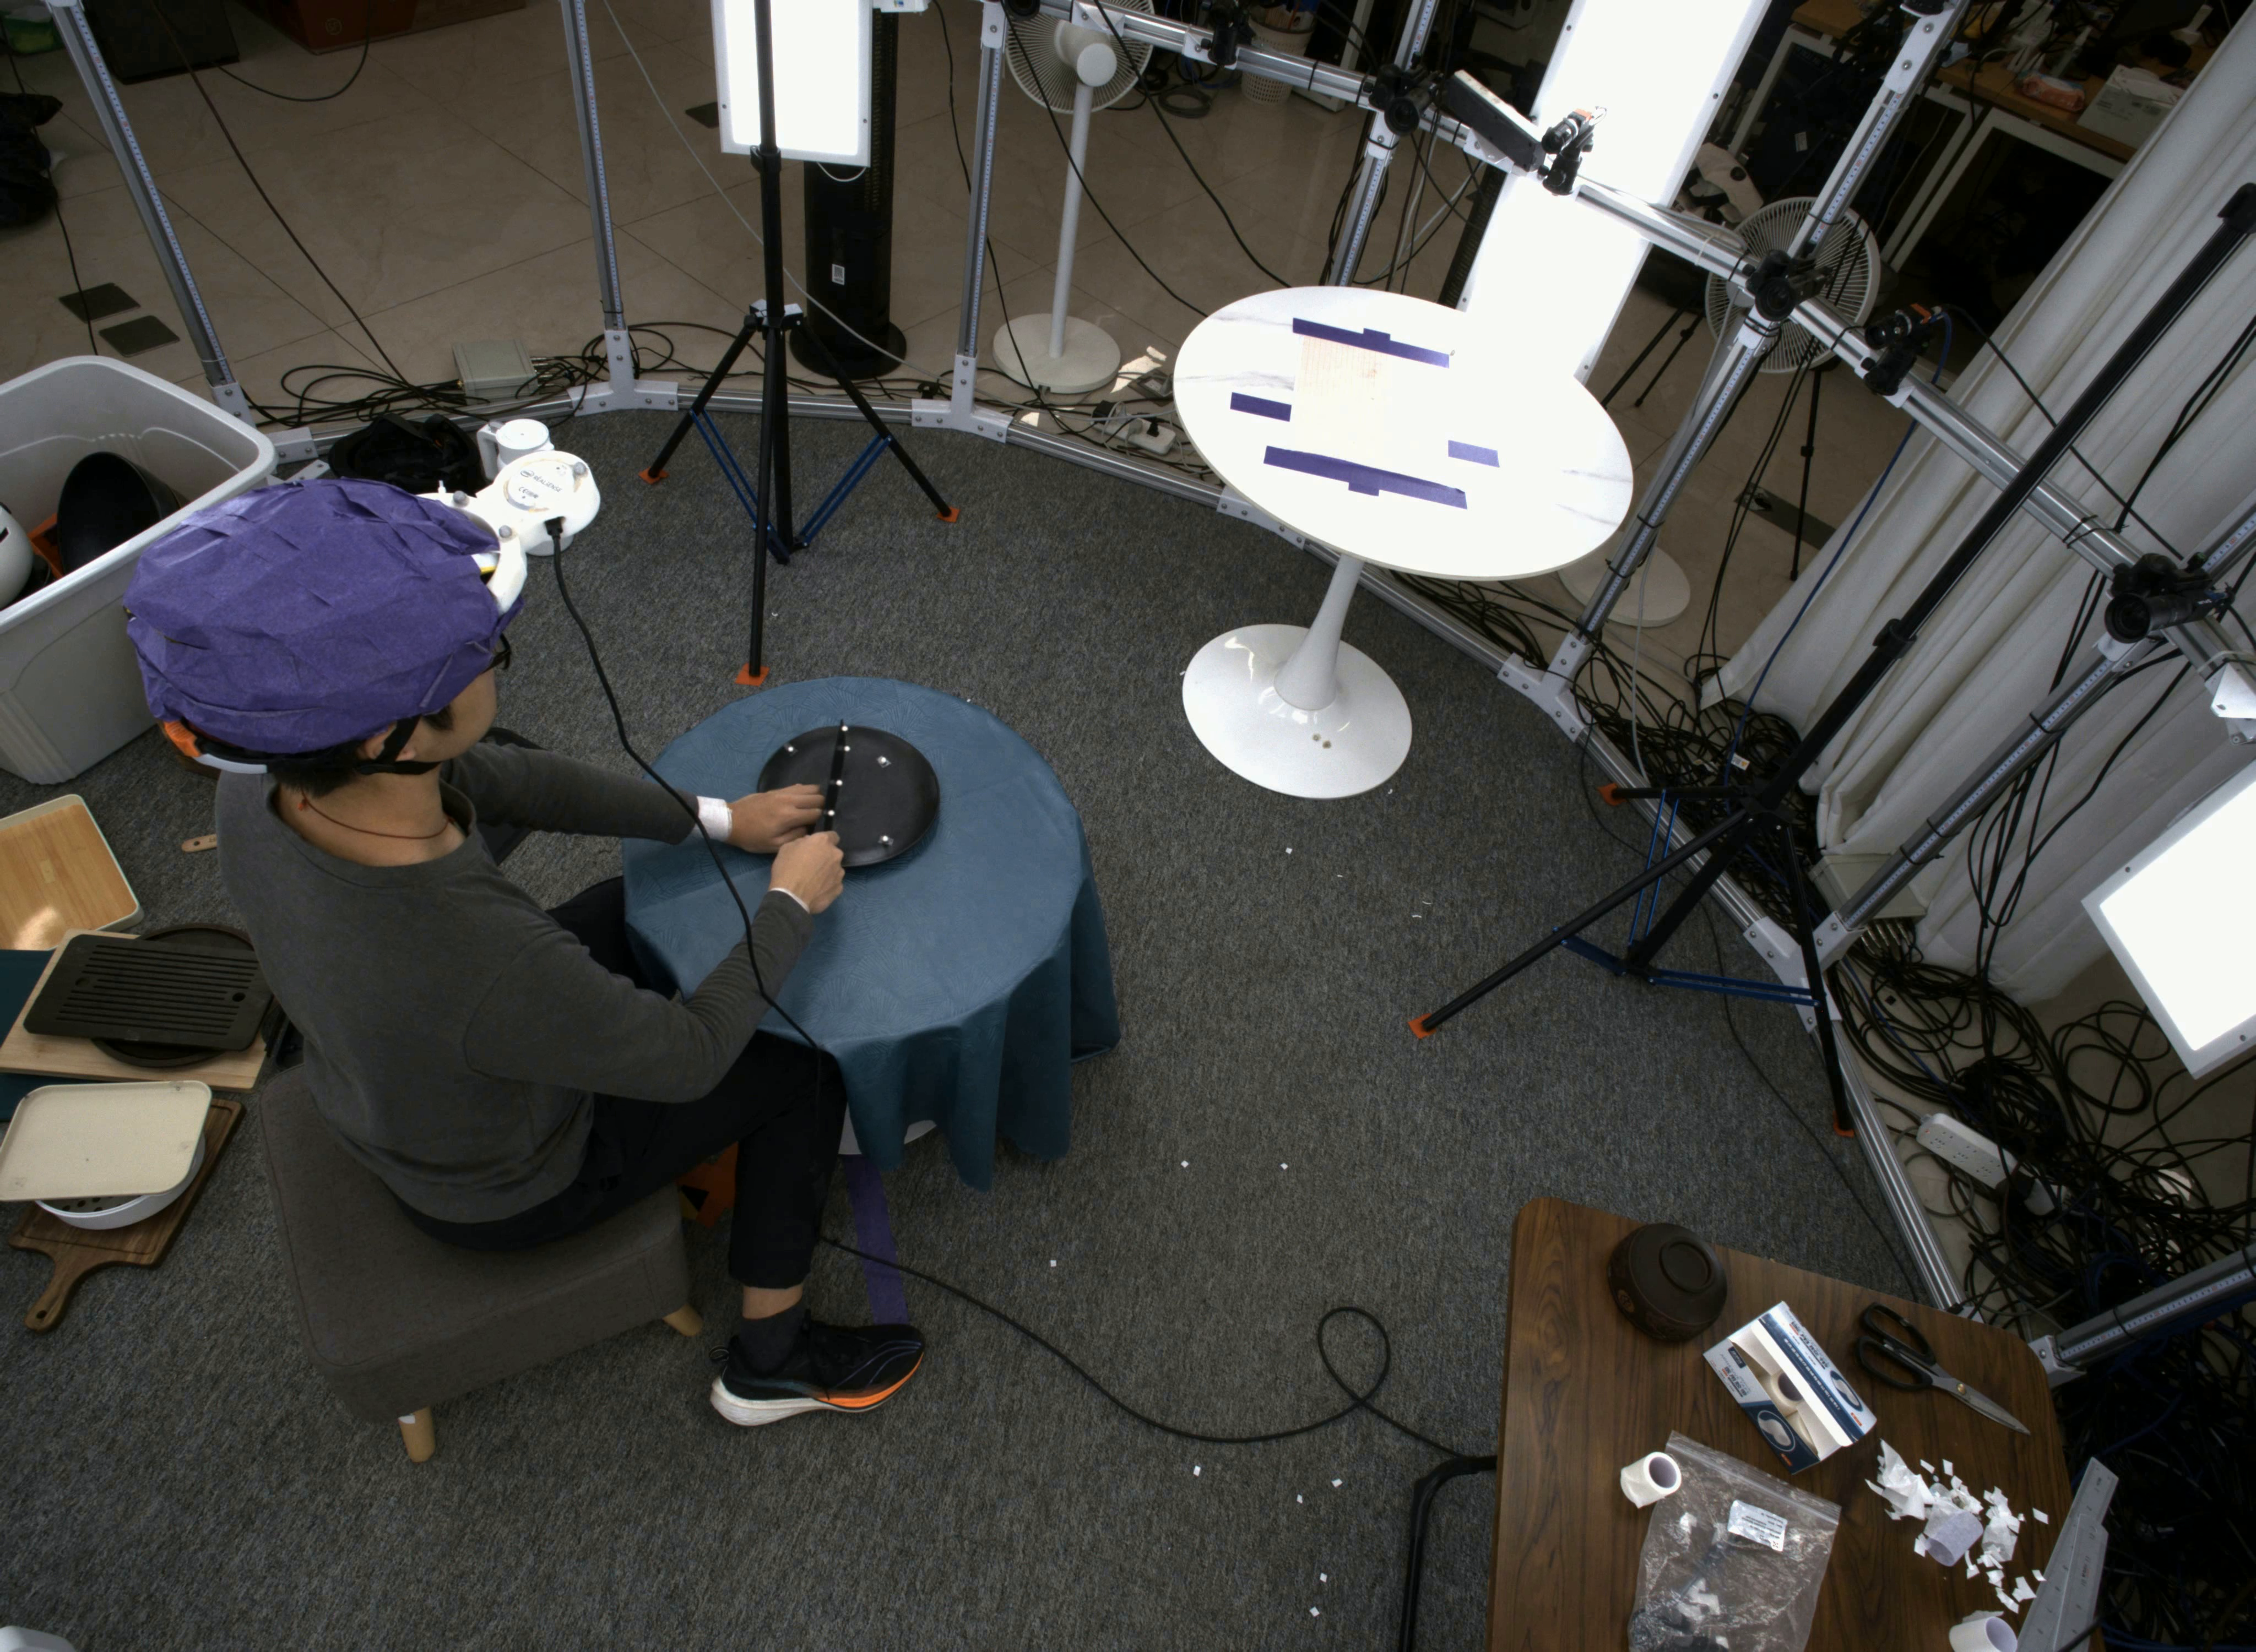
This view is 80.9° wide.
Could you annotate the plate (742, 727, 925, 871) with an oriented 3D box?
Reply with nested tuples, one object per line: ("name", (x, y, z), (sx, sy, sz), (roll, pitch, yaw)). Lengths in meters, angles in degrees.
("plate", (-0.396, -0.036, 1.755), (0.244, 0.024, 0.240), (8, 53, -9))

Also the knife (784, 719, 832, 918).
("knife", (-0.408, -0.010, 1.672), (0.020, 0.083, 0.296), (2, 49, -2))
